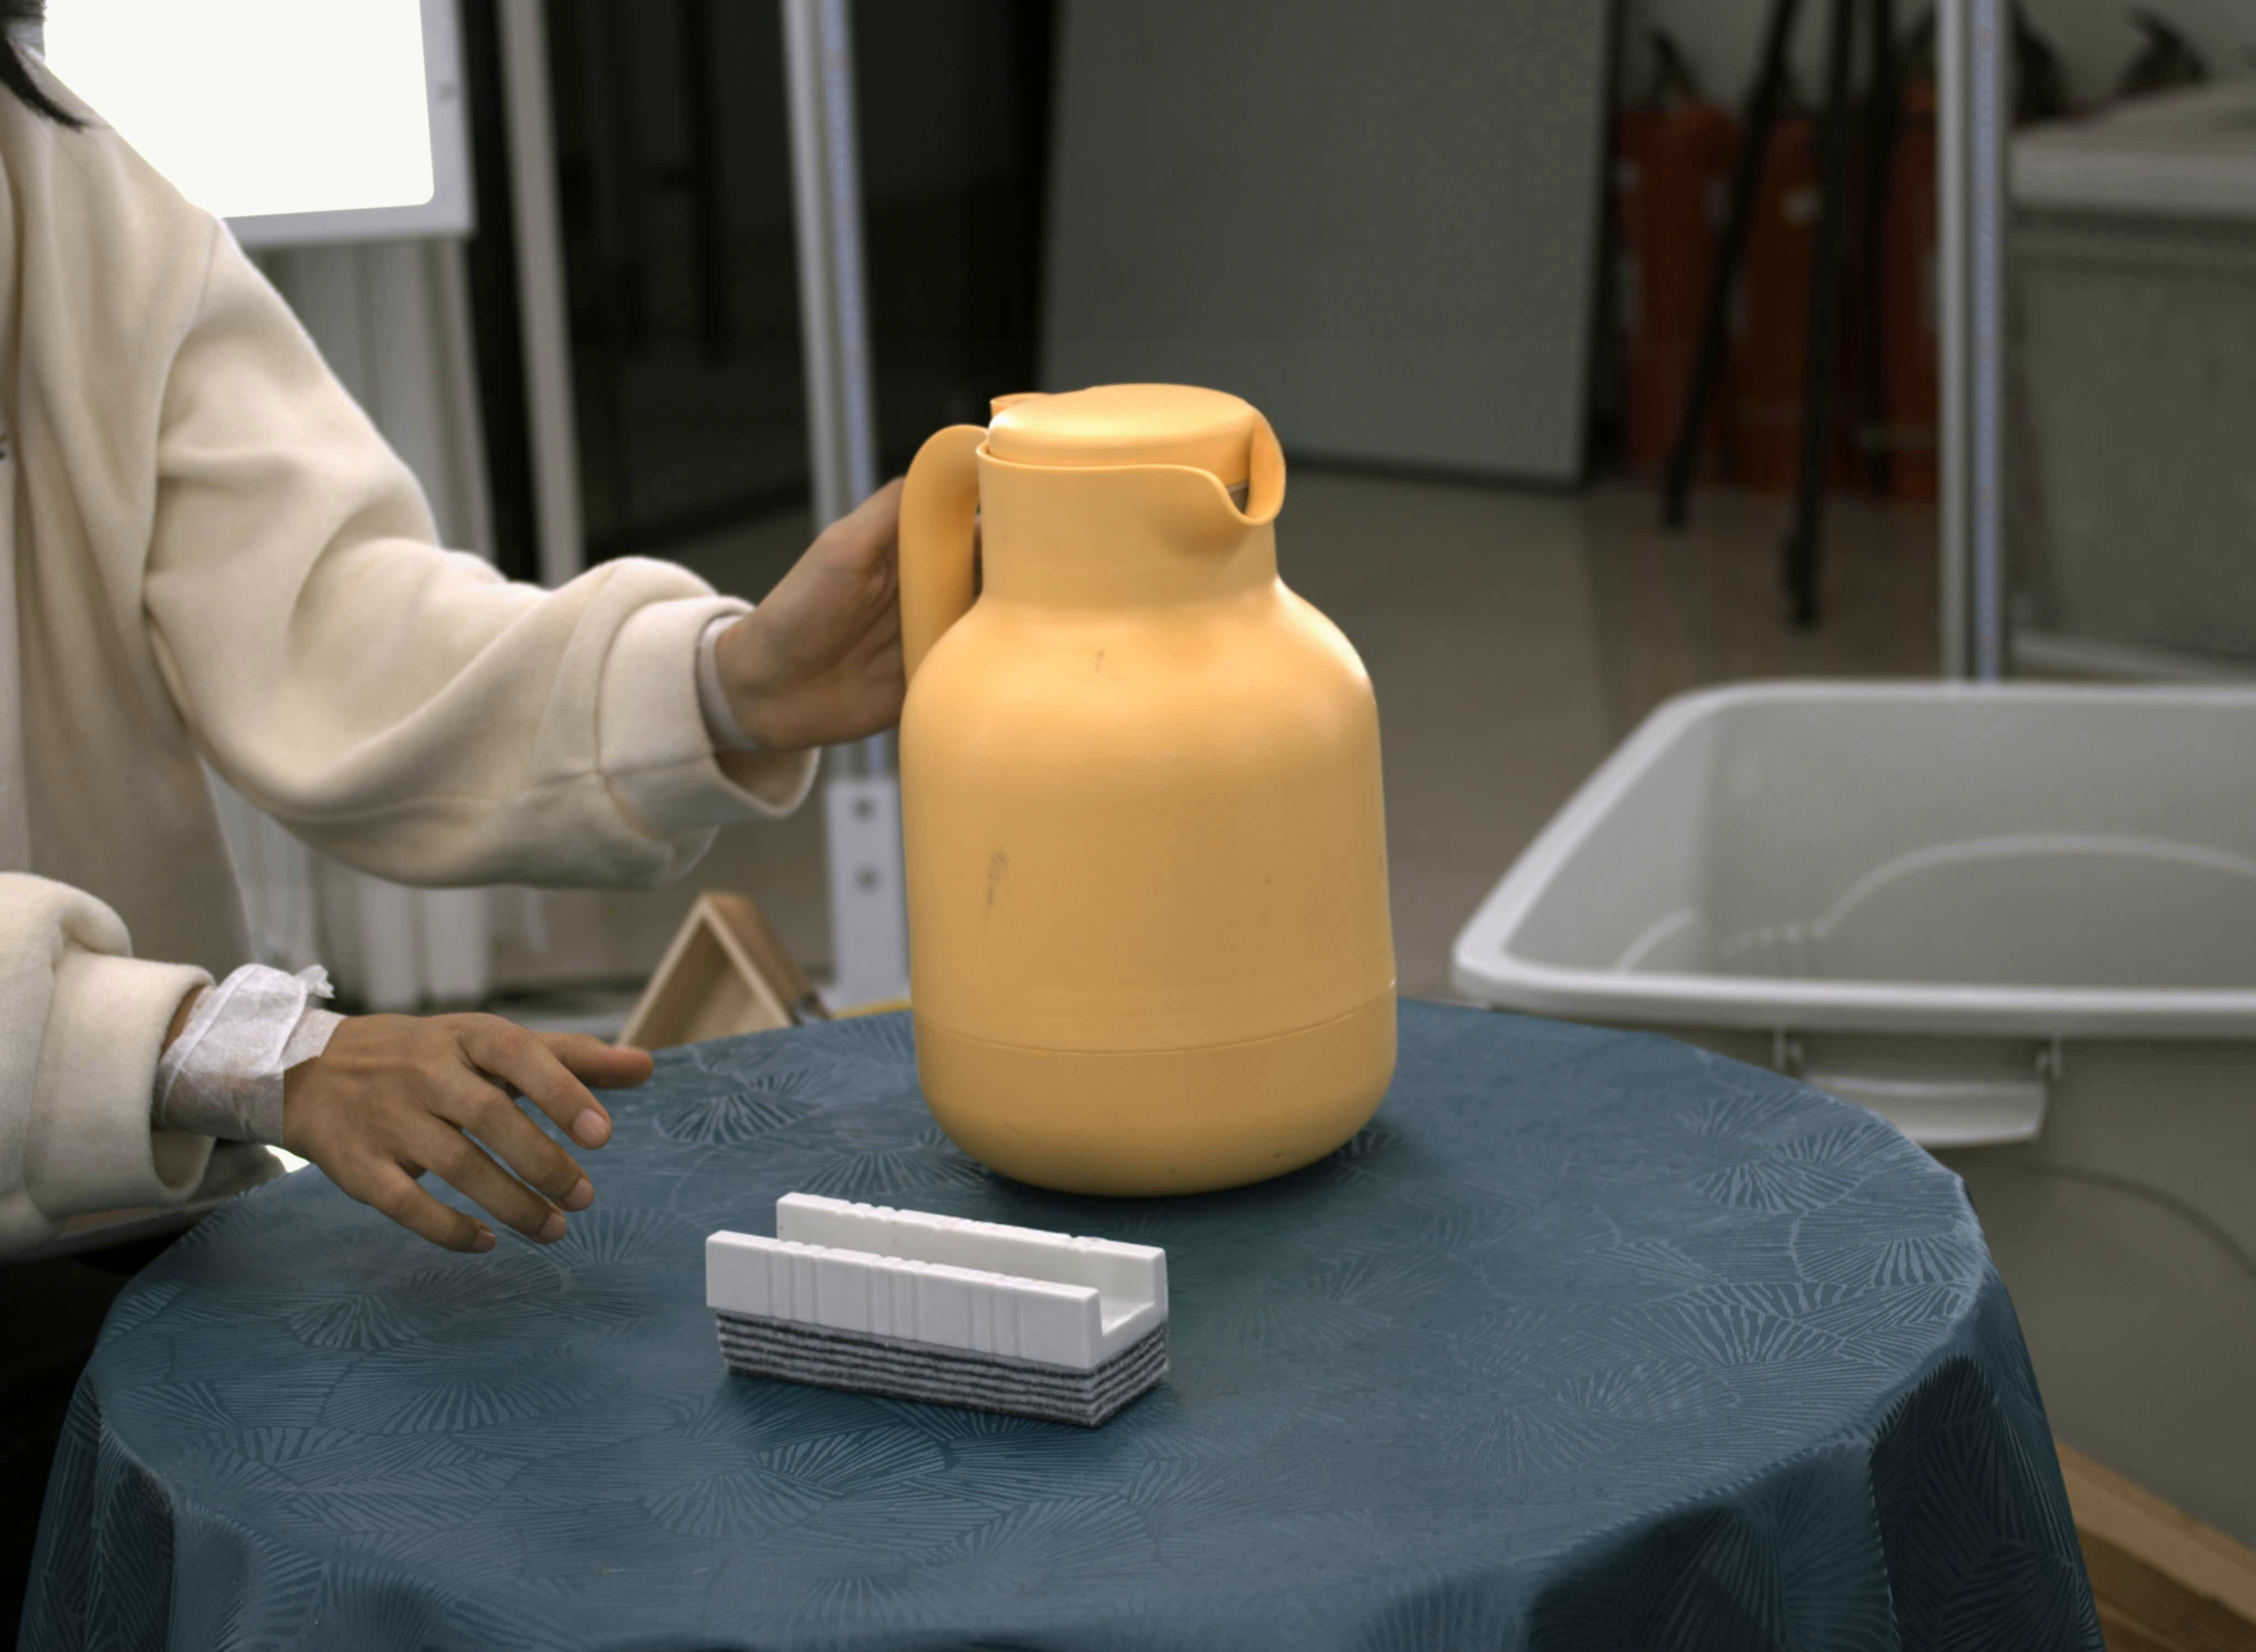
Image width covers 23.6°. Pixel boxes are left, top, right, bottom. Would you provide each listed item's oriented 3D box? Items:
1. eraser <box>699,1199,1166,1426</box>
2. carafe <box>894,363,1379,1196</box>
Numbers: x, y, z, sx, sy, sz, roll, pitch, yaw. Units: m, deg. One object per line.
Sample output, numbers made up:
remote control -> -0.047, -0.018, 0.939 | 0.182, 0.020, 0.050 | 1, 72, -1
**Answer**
eraser -> -0.058, 0.143, 1.599 | 0.135, 0.047, 0.049 | 5, 19, 29
carafe -> -0.008, -0.023, 1.797 | 0.160, 0.263, 0.204 | -8, 15, -32
